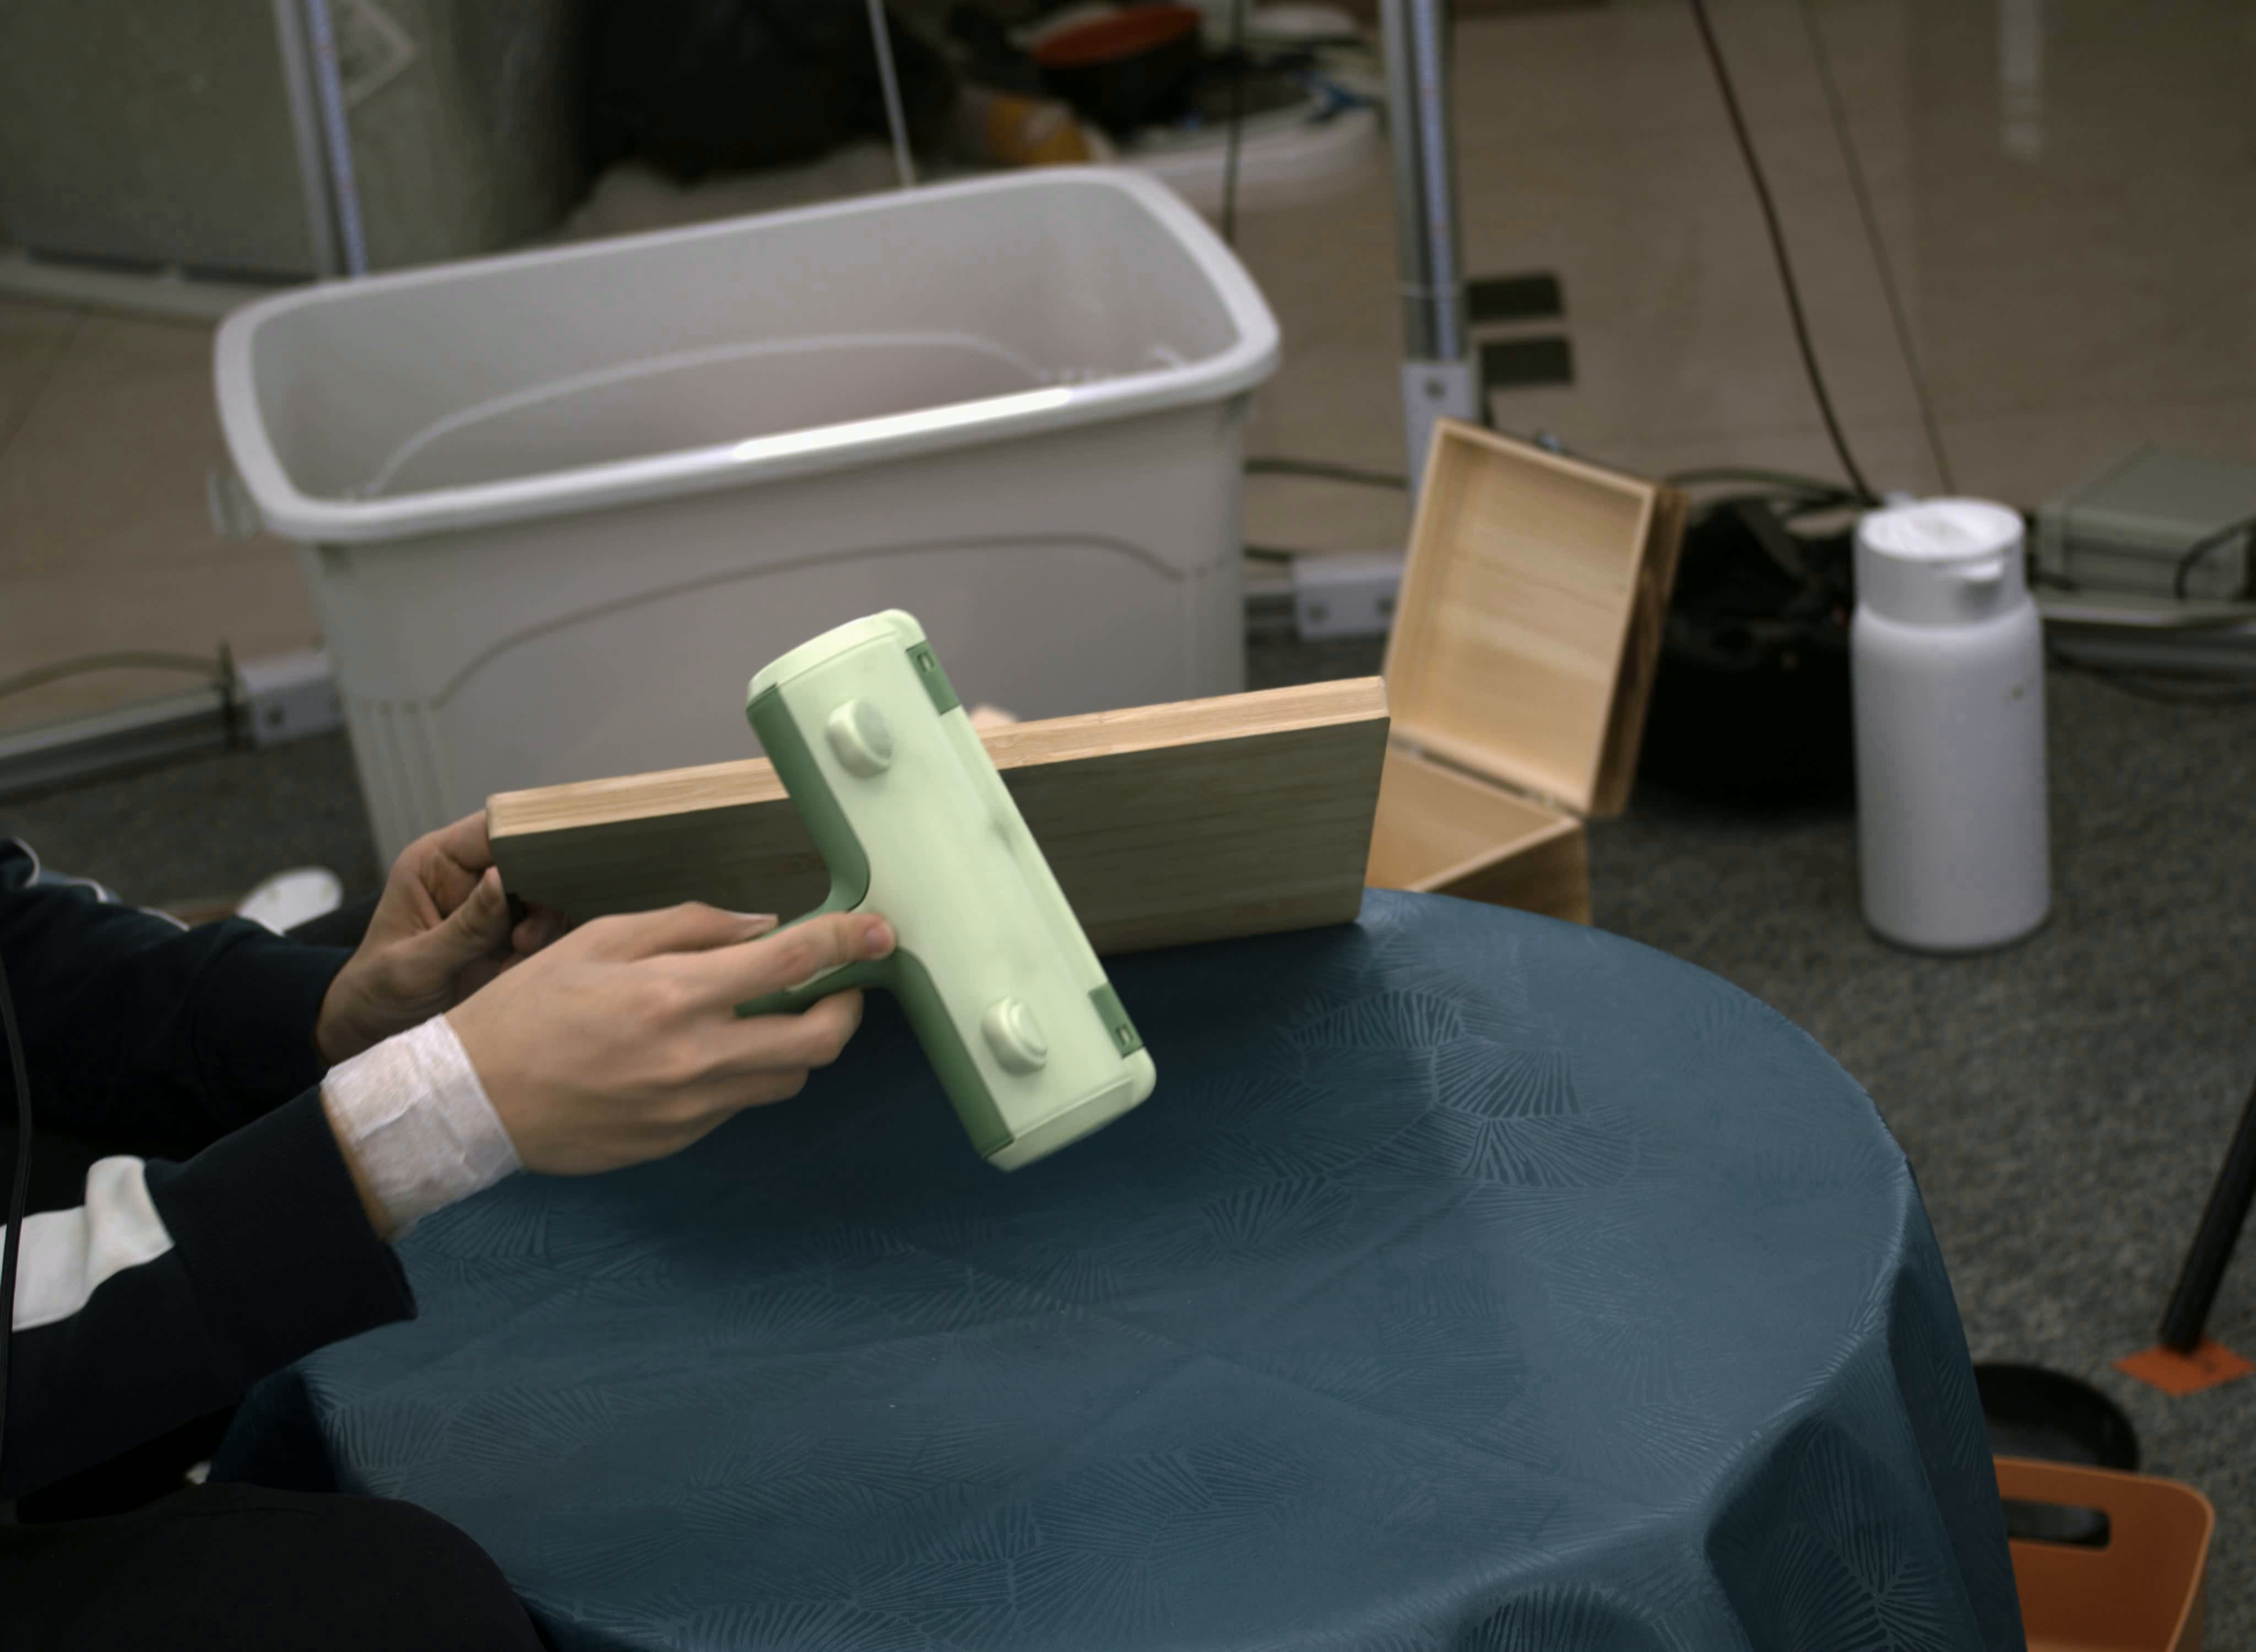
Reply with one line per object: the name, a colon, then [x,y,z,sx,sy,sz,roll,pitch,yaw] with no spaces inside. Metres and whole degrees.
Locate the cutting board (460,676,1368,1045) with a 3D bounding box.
cutting board: [-0.077,0.016,2.214,0.348,0.254,0.023,-7,70,-4]

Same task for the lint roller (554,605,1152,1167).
lint roller: [-0.111,0.044,1.950,0.182,0.198,0.082,-27,-2,-17]
